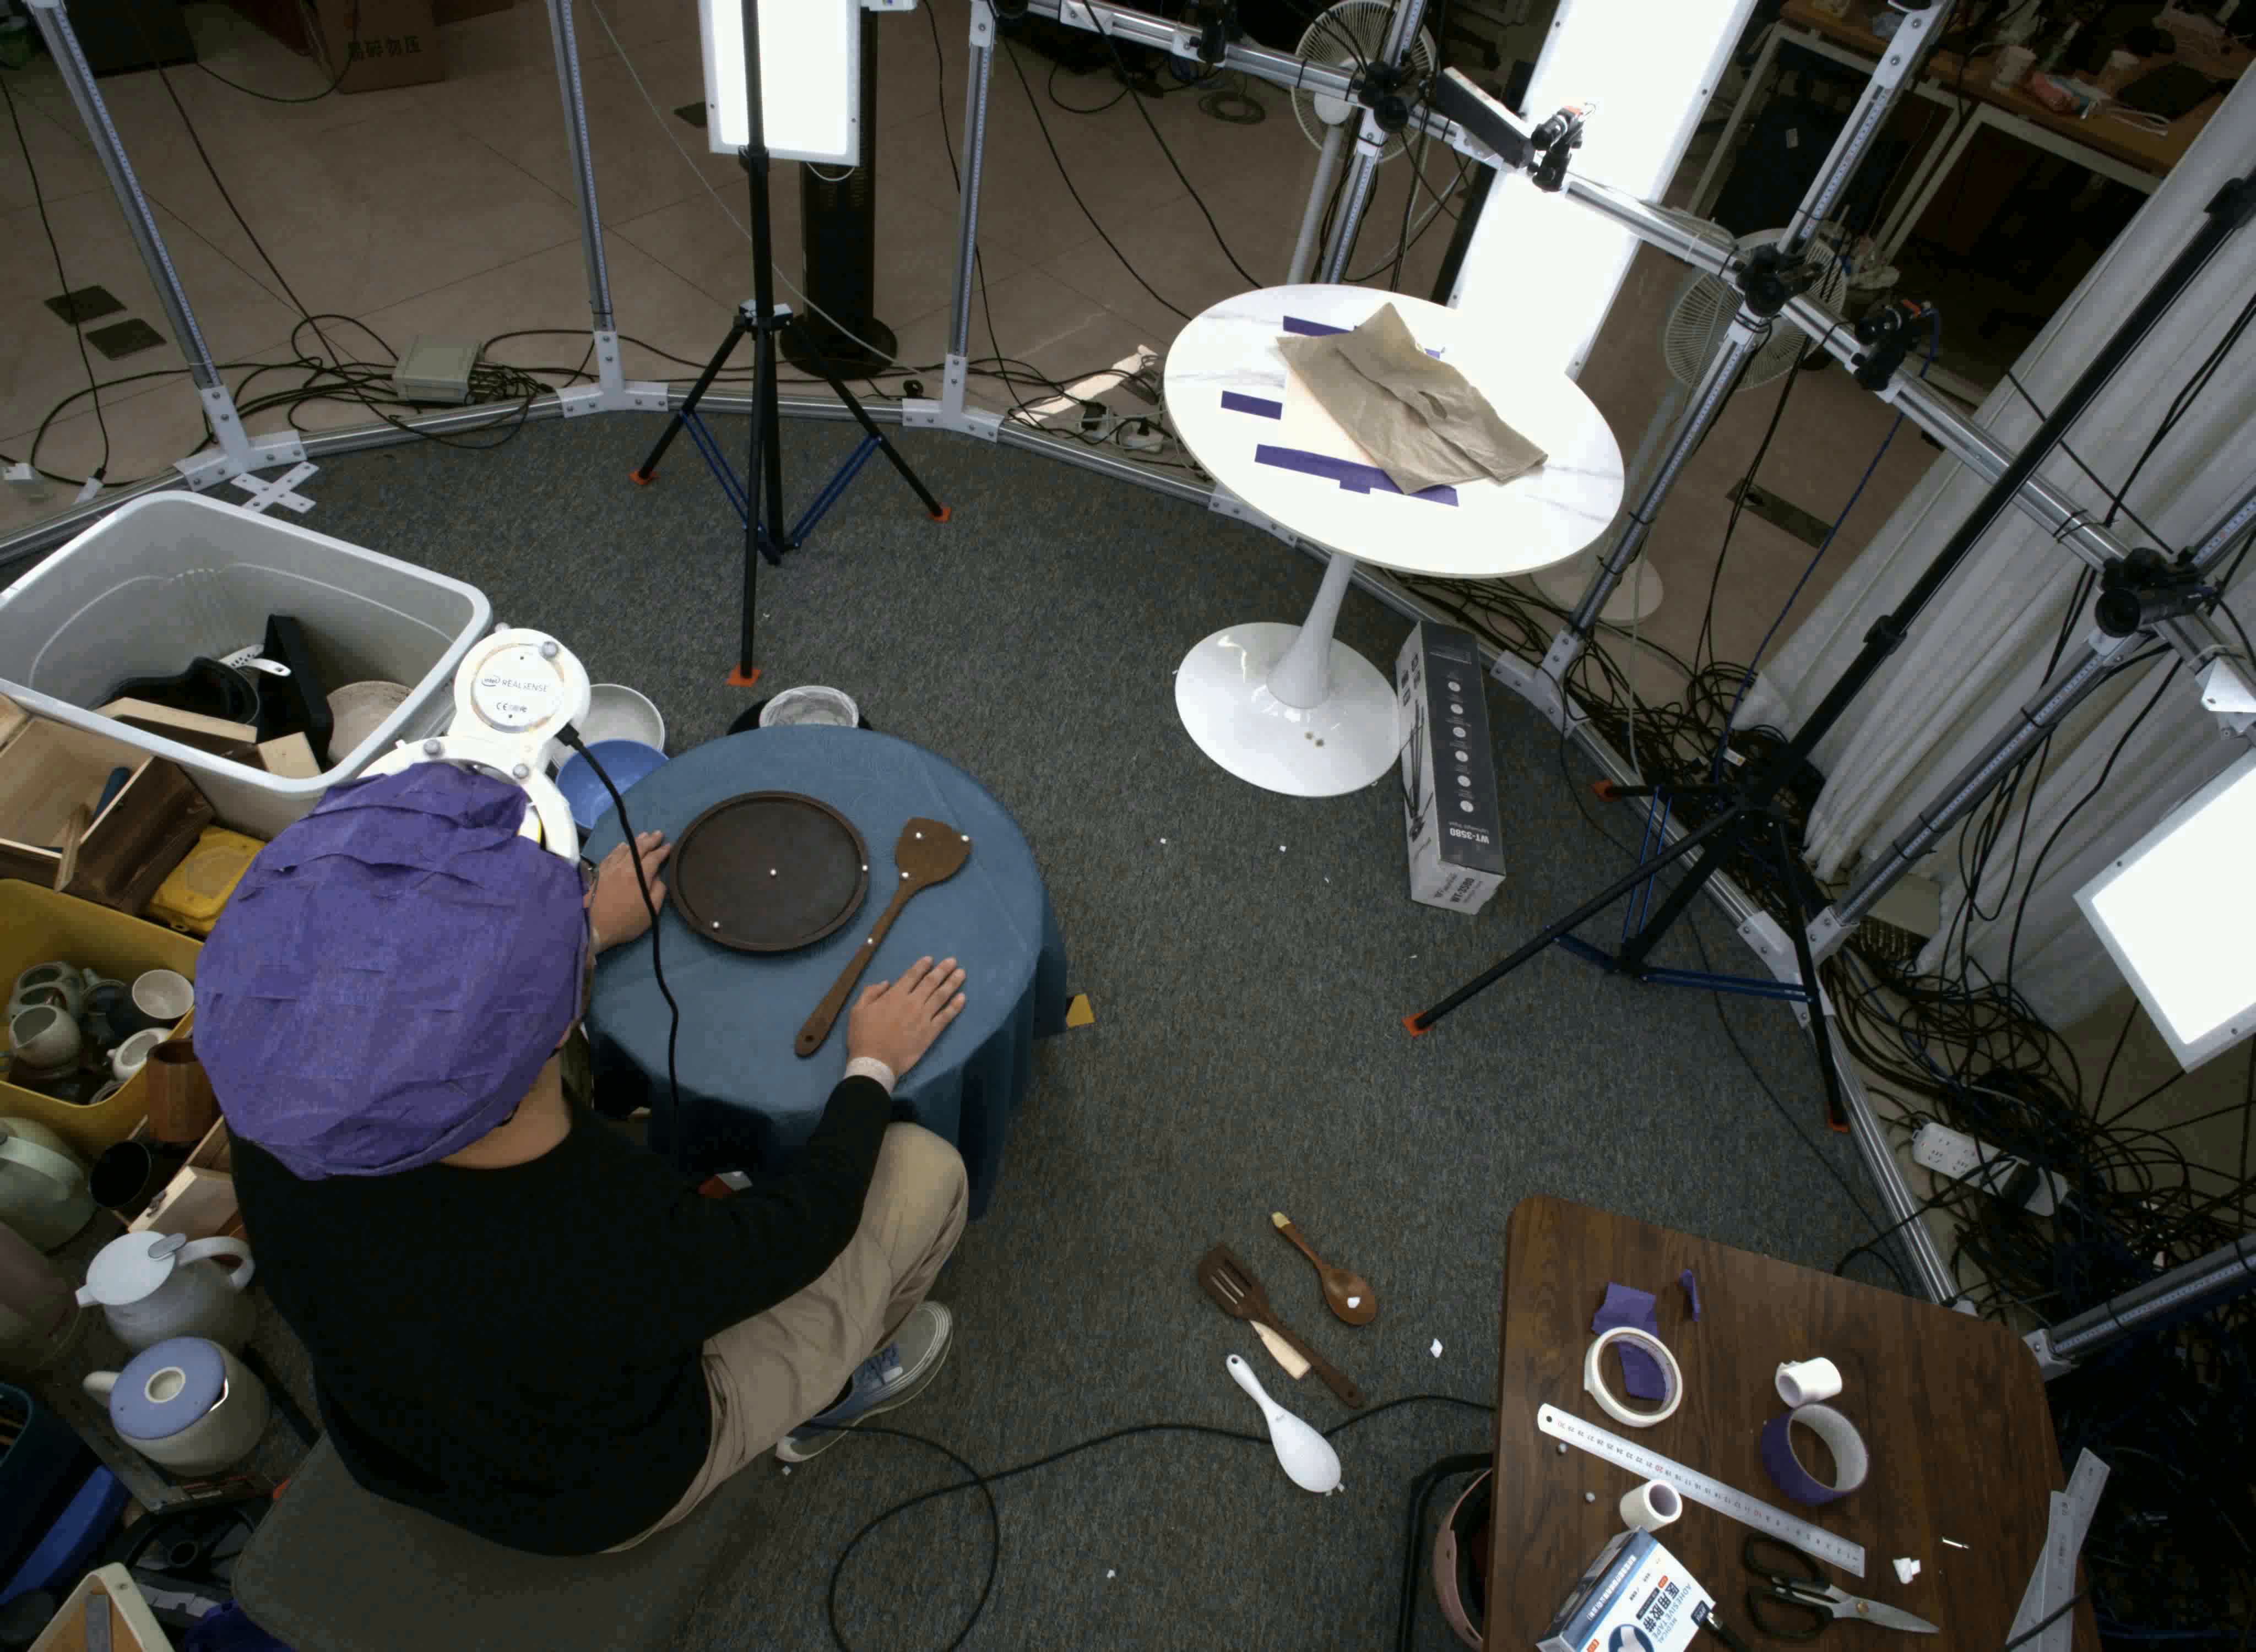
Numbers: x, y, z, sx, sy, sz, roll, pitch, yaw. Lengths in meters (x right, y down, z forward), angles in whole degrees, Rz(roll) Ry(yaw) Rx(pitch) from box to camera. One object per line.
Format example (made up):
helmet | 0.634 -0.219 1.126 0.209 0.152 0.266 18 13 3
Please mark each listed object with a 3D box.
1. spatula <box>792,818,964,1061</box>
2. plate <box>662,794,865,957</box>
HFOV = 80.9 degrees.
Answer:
spatula | -0.321 0.134 1.637 0.095 0.016 0.383 23 52 4
plate | -0.464 0.059 1.650 0.254 0.029 0.250 9 51 -9
